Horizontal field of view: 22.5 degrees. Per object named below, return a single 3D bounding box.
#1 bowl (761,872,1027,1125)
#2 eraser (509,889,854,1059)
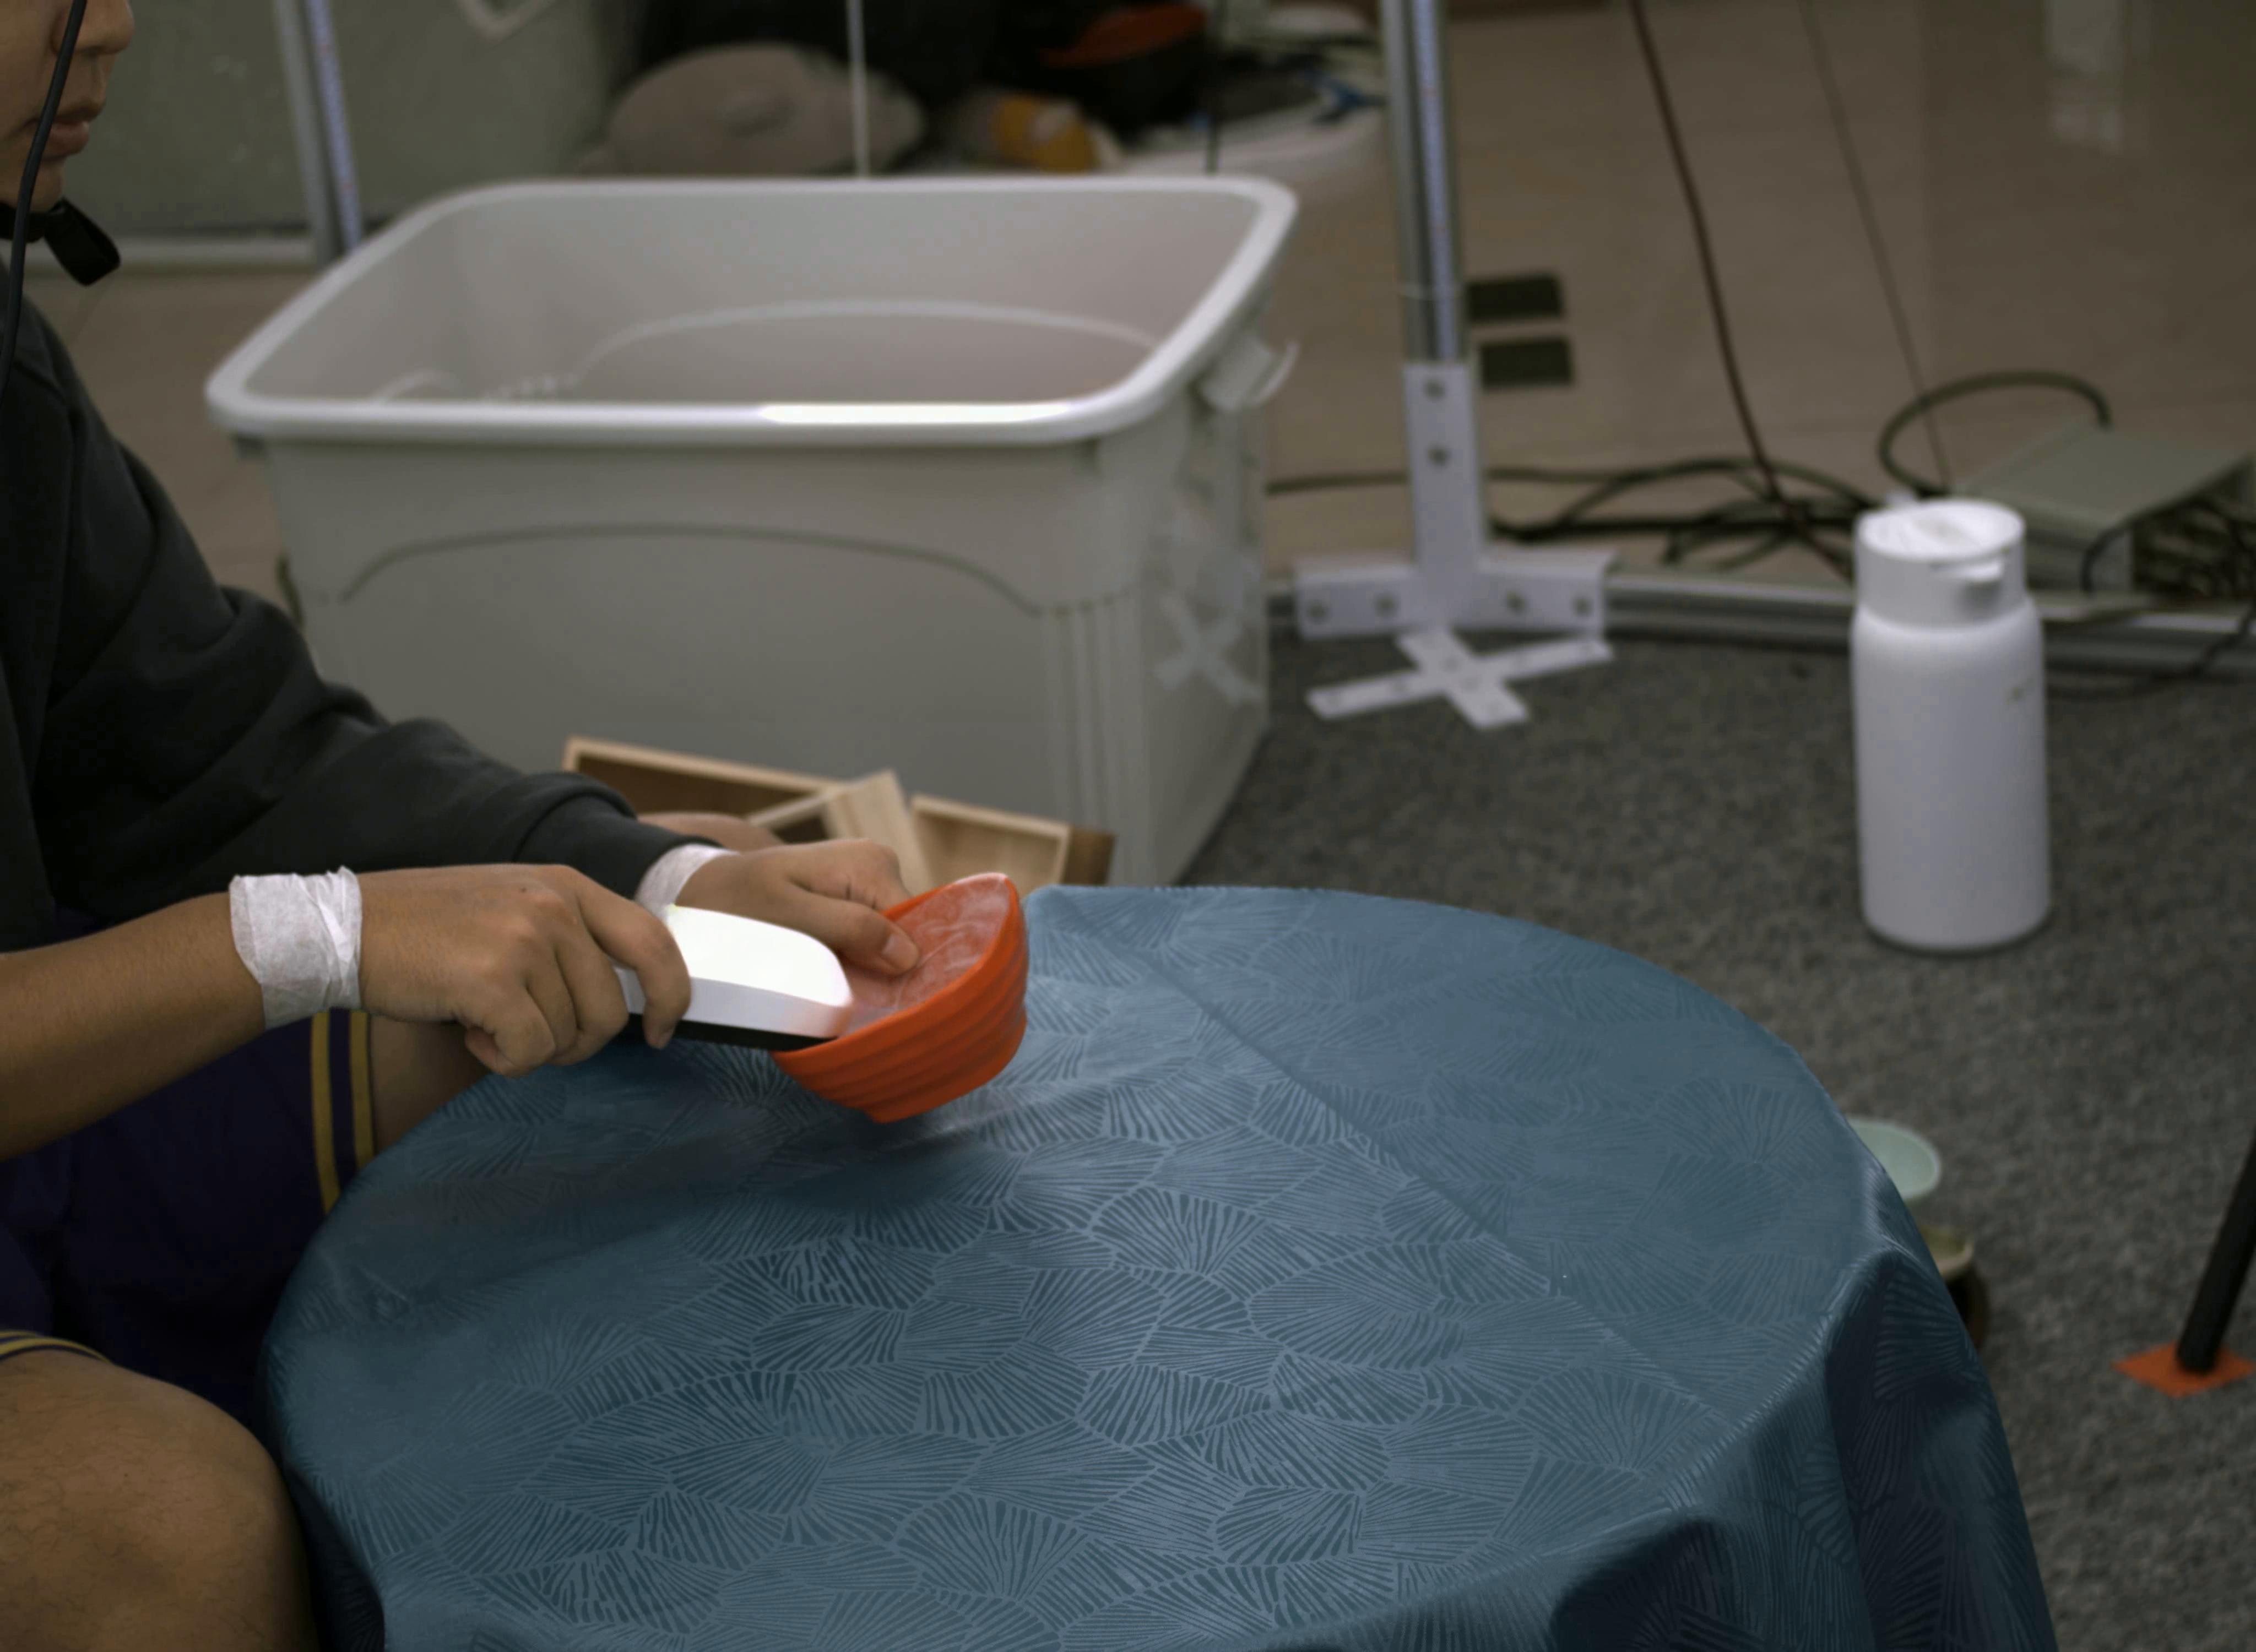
[{"bbox_3d":[-0.082,0.073,2.190,0.119,0.052,0.117,-27,22,12],"label":"bowl"},{"bbox_3d":[-0.171,0.056,2.167,0.131,0.035,0.062,11,22,-20],"label":"eraser"}]
